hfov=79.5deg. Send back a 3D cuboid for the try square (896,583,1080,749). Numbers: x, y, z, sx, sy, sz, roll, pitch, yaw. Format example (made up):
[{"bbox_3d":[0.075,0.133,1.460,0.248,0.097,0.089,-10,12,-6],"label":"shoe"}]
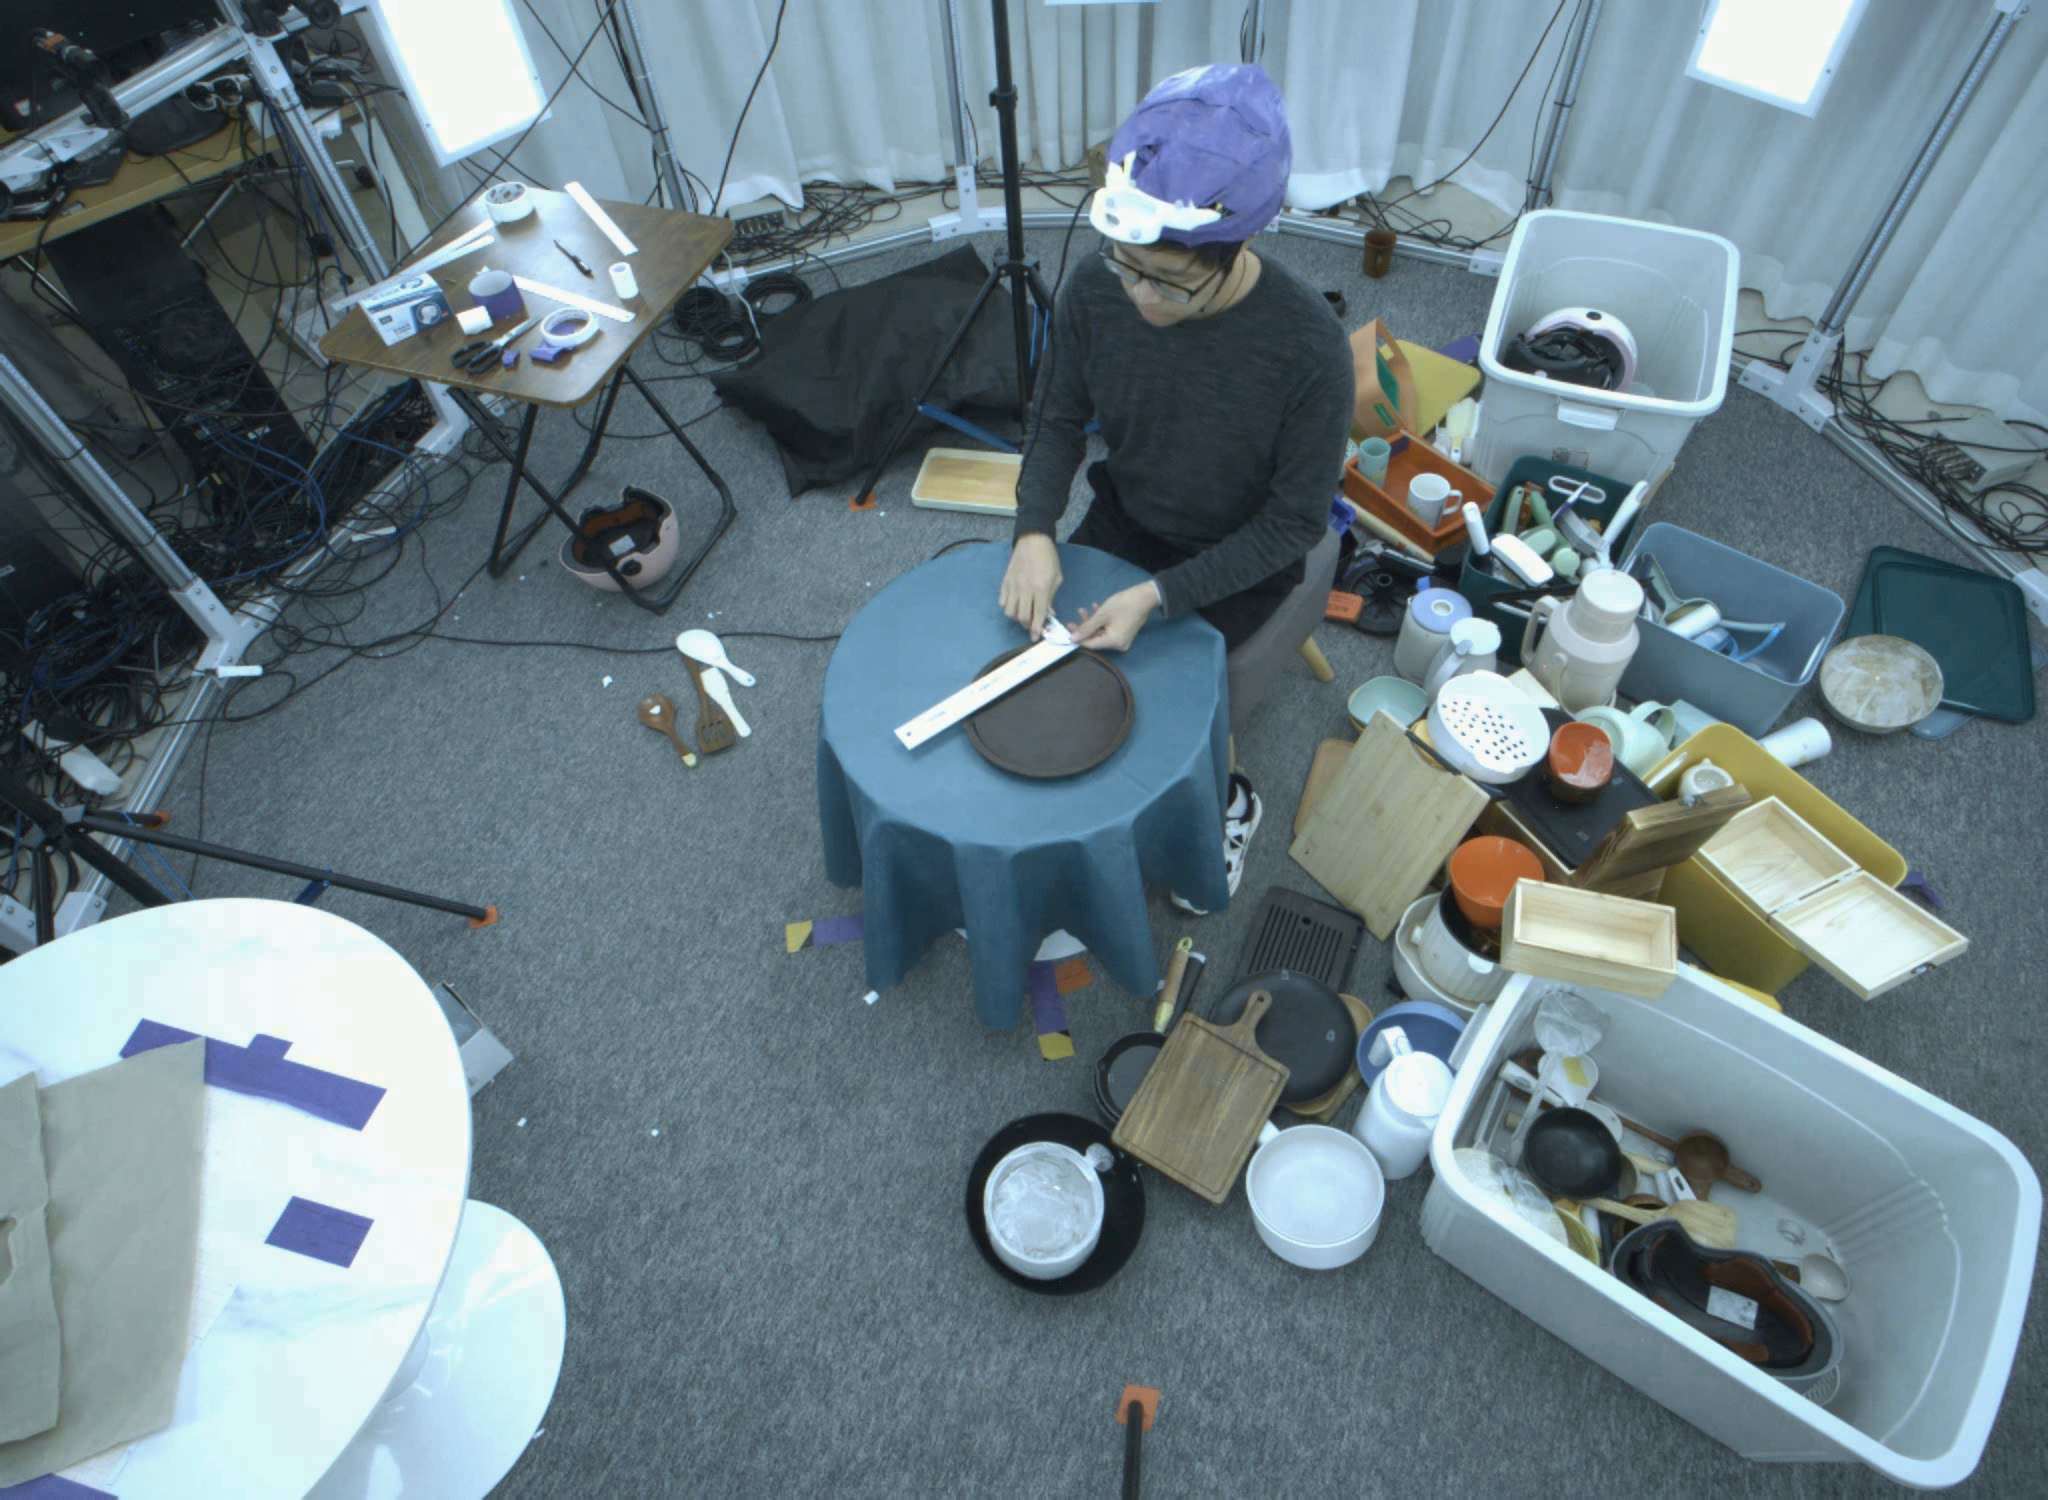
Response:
[{"bbox_3d":[-0.082,-0.131,1.850,0.315,0.016,0.149,-32,63,-18],"label":"try square"}]

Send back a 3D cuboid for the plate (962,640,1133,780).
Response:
[{"bbox_3d":[0.035,-0.060,1.814,0.254,0.029,0.252,-1,55,3],"label":"plate"}]
